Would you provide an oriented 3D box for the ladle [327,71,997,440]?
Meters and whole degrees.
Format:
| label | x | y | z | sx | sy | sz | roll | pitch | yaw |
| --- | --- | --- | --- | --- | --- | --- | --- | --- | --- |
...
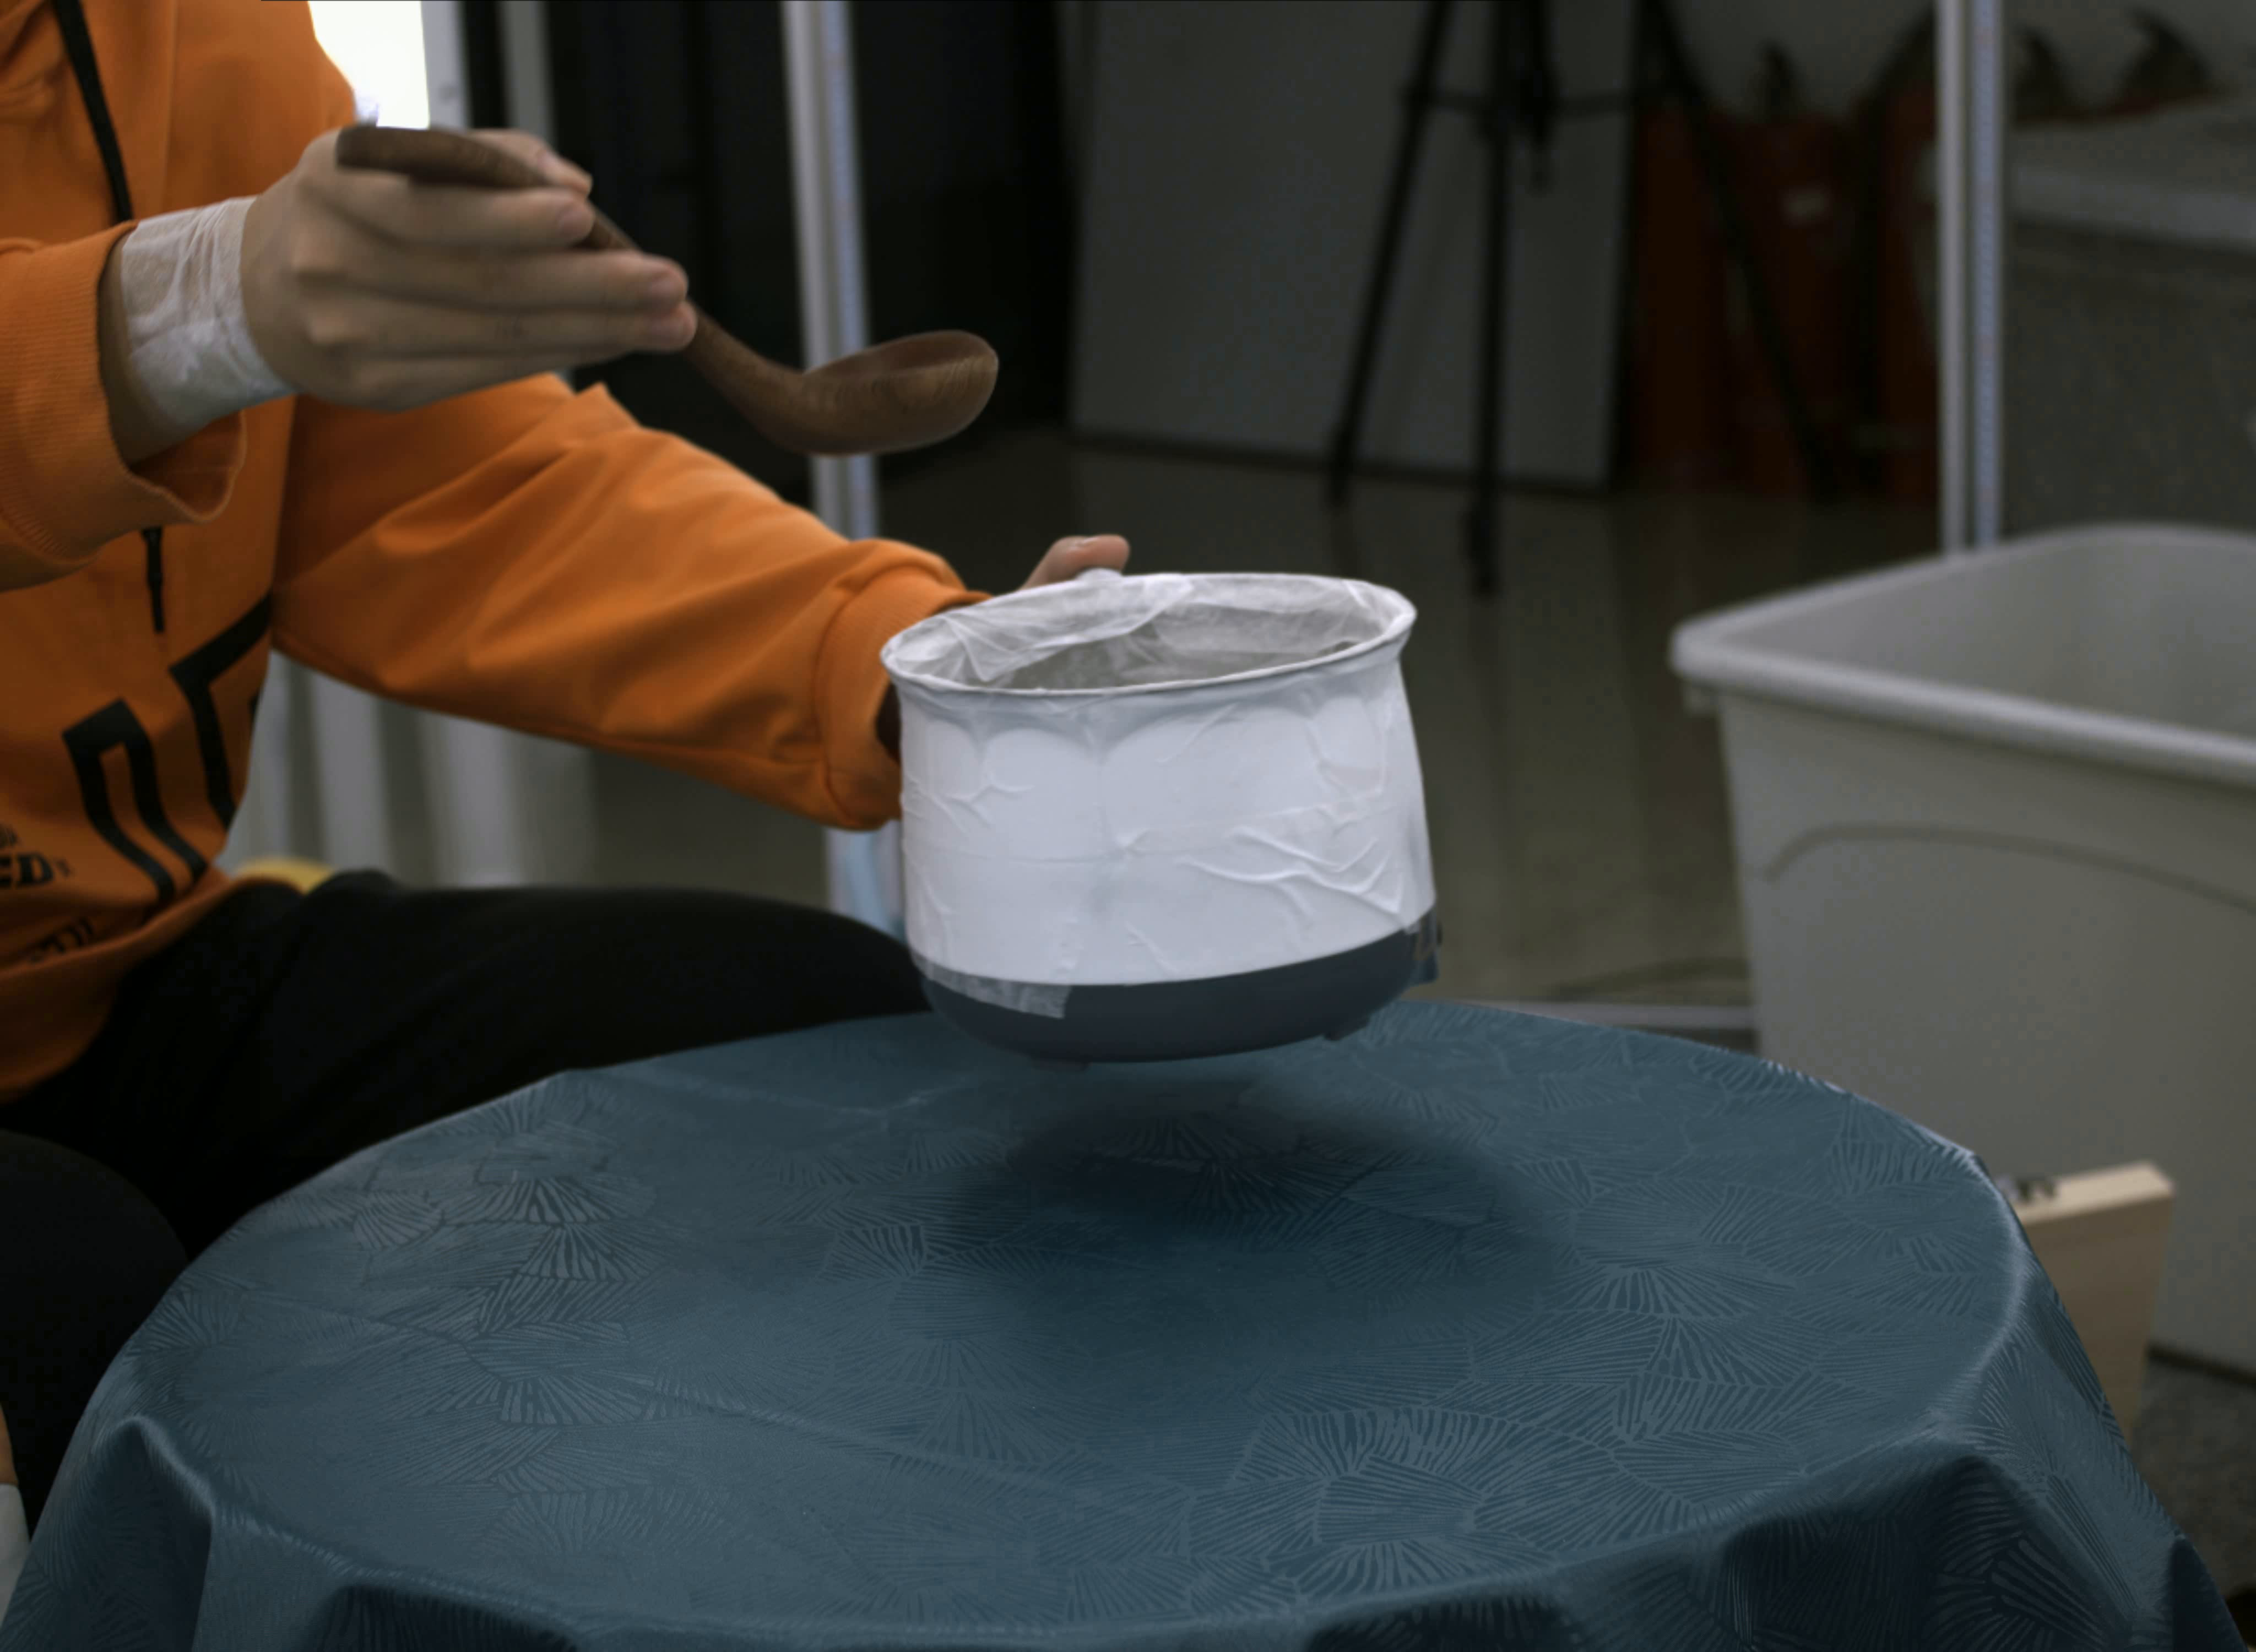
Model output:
| label | x | y | z | sx | sy | sz | roll | pitch | yaw |
| --- | --- | --- | --- | --- | --- | --- | --- | --- | --- |
| ladle | -0.135 | -0.178 | 1.599 | 0.077 | 0.066 | 0.255 | -11 | -30 | 39 |

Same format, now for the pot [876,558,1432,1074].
| label | x | y | z | sx | sy | sz | roll | pitch | yaw |
| --- | --- | --- | --- | --- | --- | --- | --- | --- | --- |
| pot | 0.005 | -0.009 | 1.799 | 0.175 | 0.138 | 0.235 | -7 | 13 | -9 |
